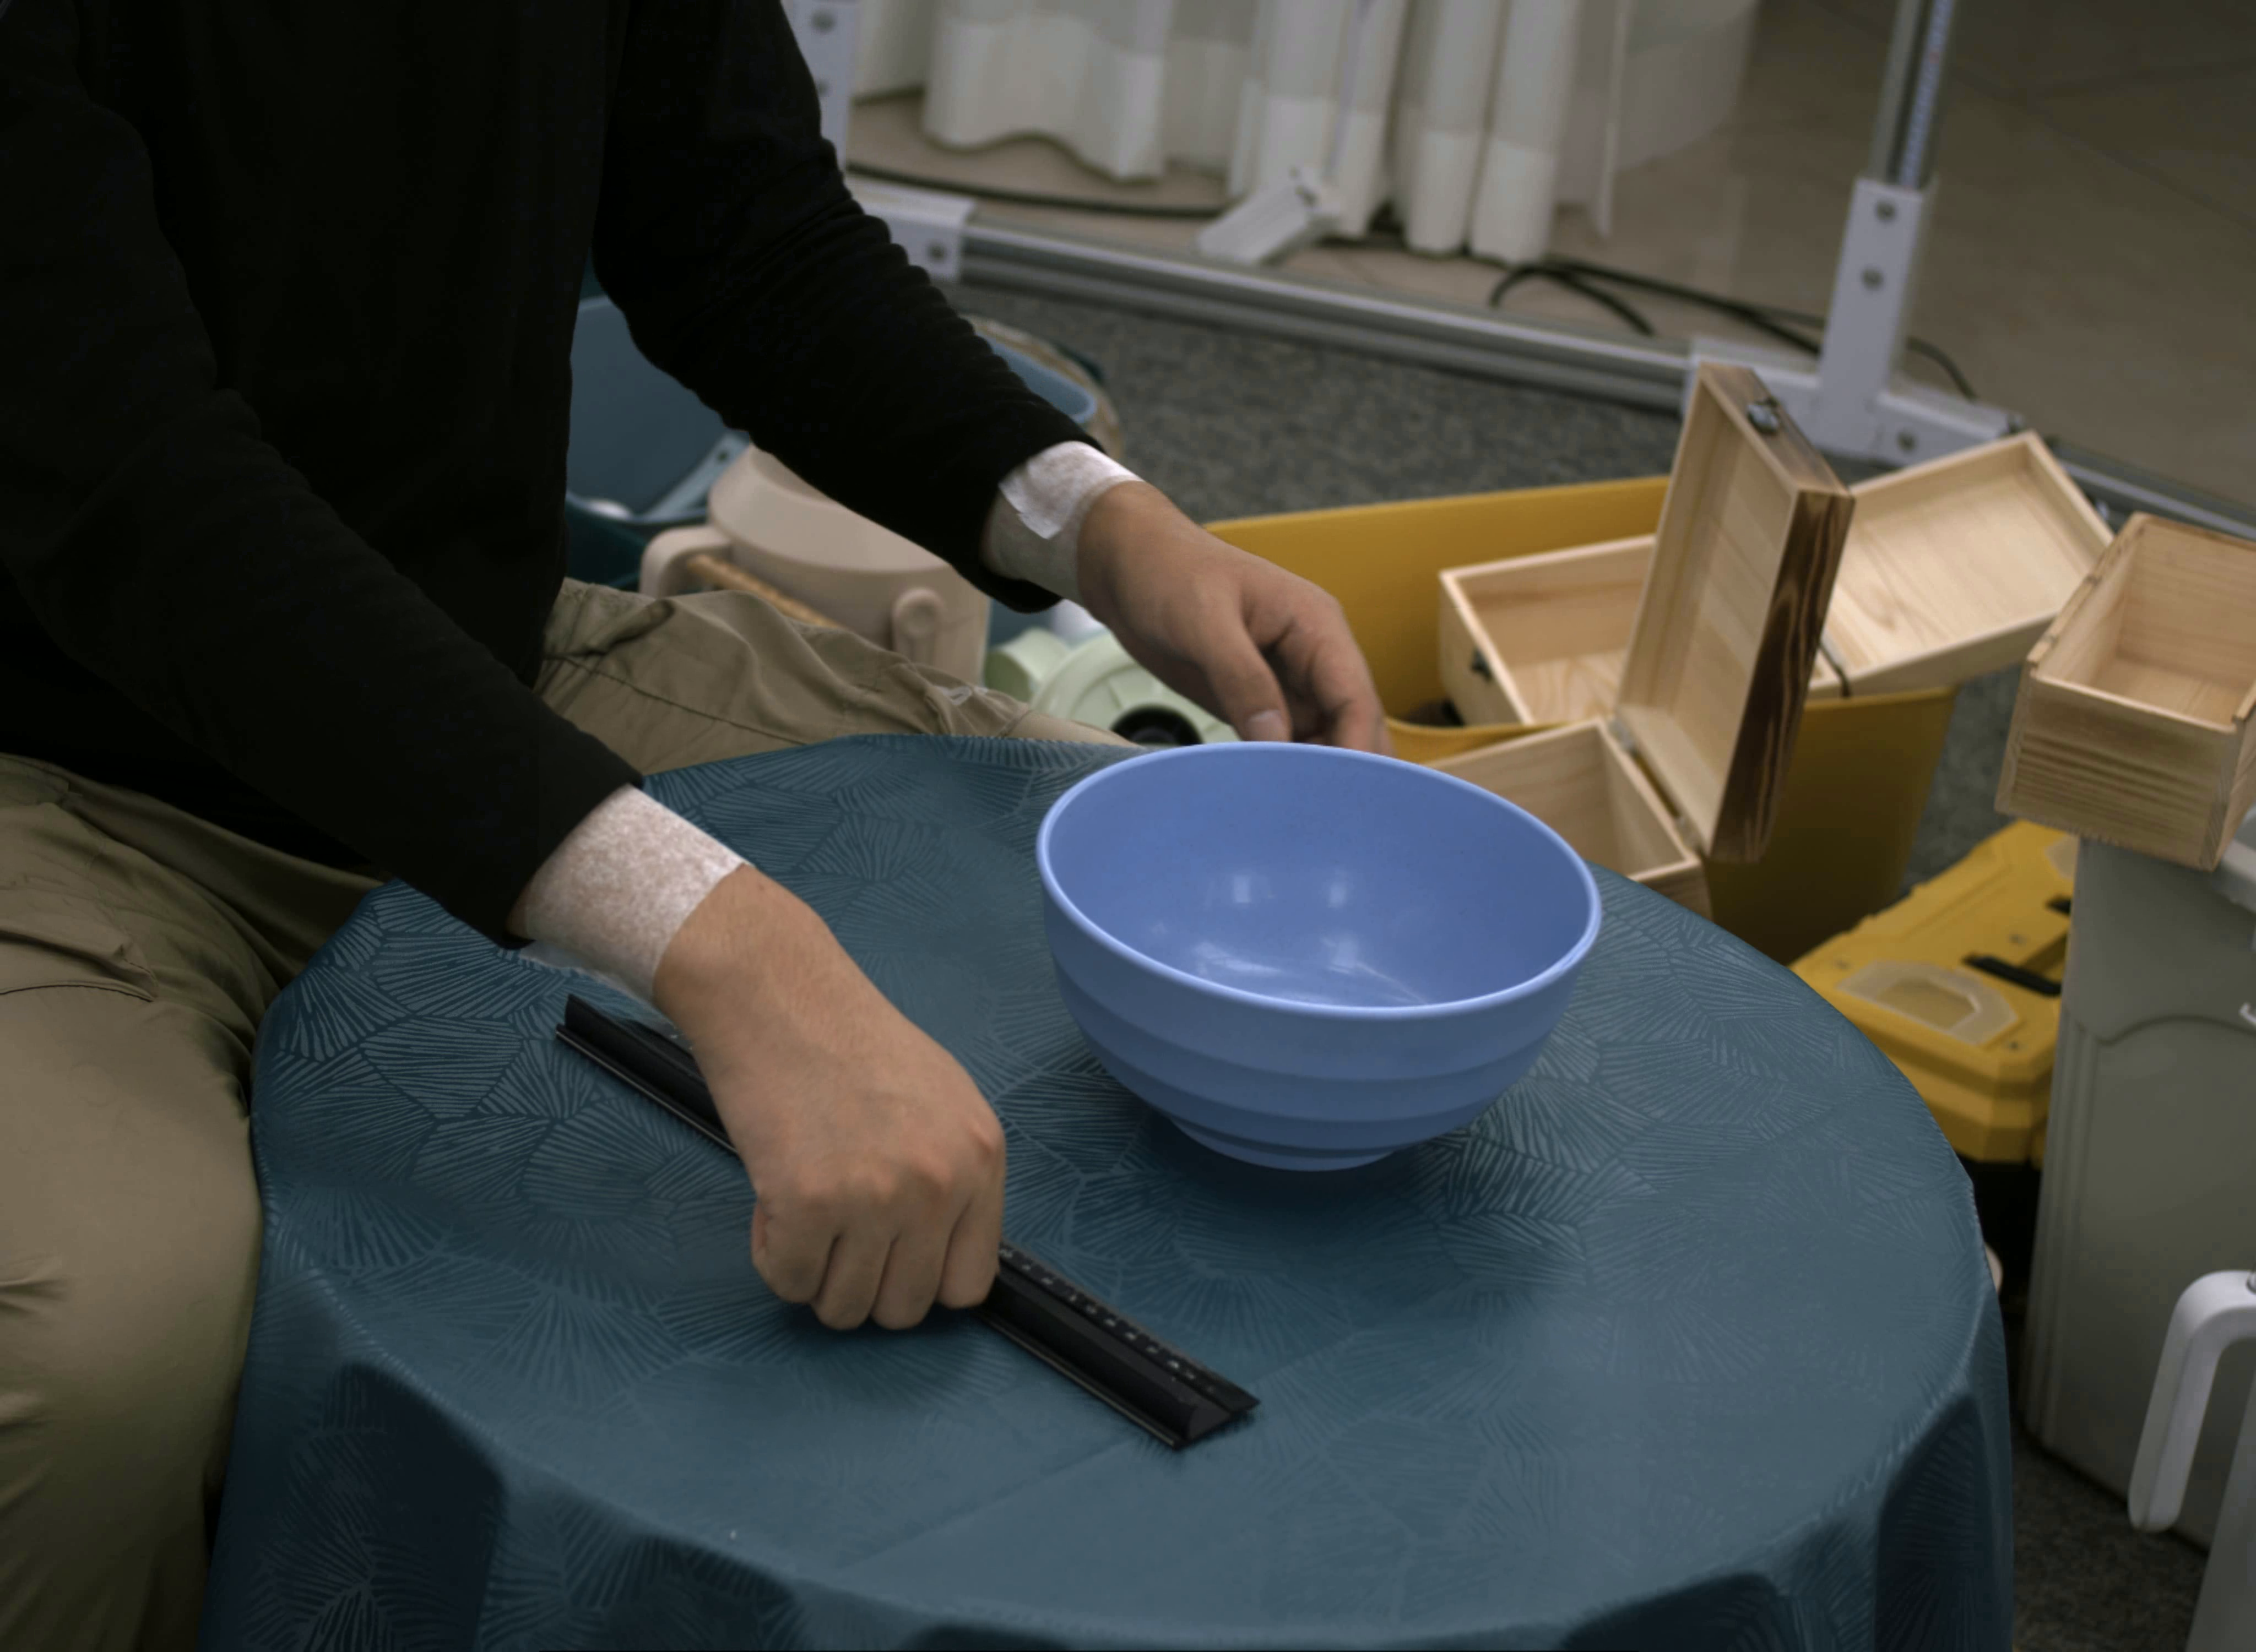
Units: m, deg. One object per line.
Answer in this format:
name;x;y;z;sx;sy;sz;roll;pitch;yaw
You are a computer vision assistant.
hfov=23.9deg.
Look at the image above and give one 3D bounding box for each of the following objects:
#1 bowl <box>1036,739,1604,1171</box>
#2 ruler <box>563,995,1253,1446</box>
bowl;0.060;0.056;1.843;0.196;0.095;0.198;6;27;-3
ruler;-0.077;0.122;1.767;0.039;0.017;0.315;-18;36;-40
